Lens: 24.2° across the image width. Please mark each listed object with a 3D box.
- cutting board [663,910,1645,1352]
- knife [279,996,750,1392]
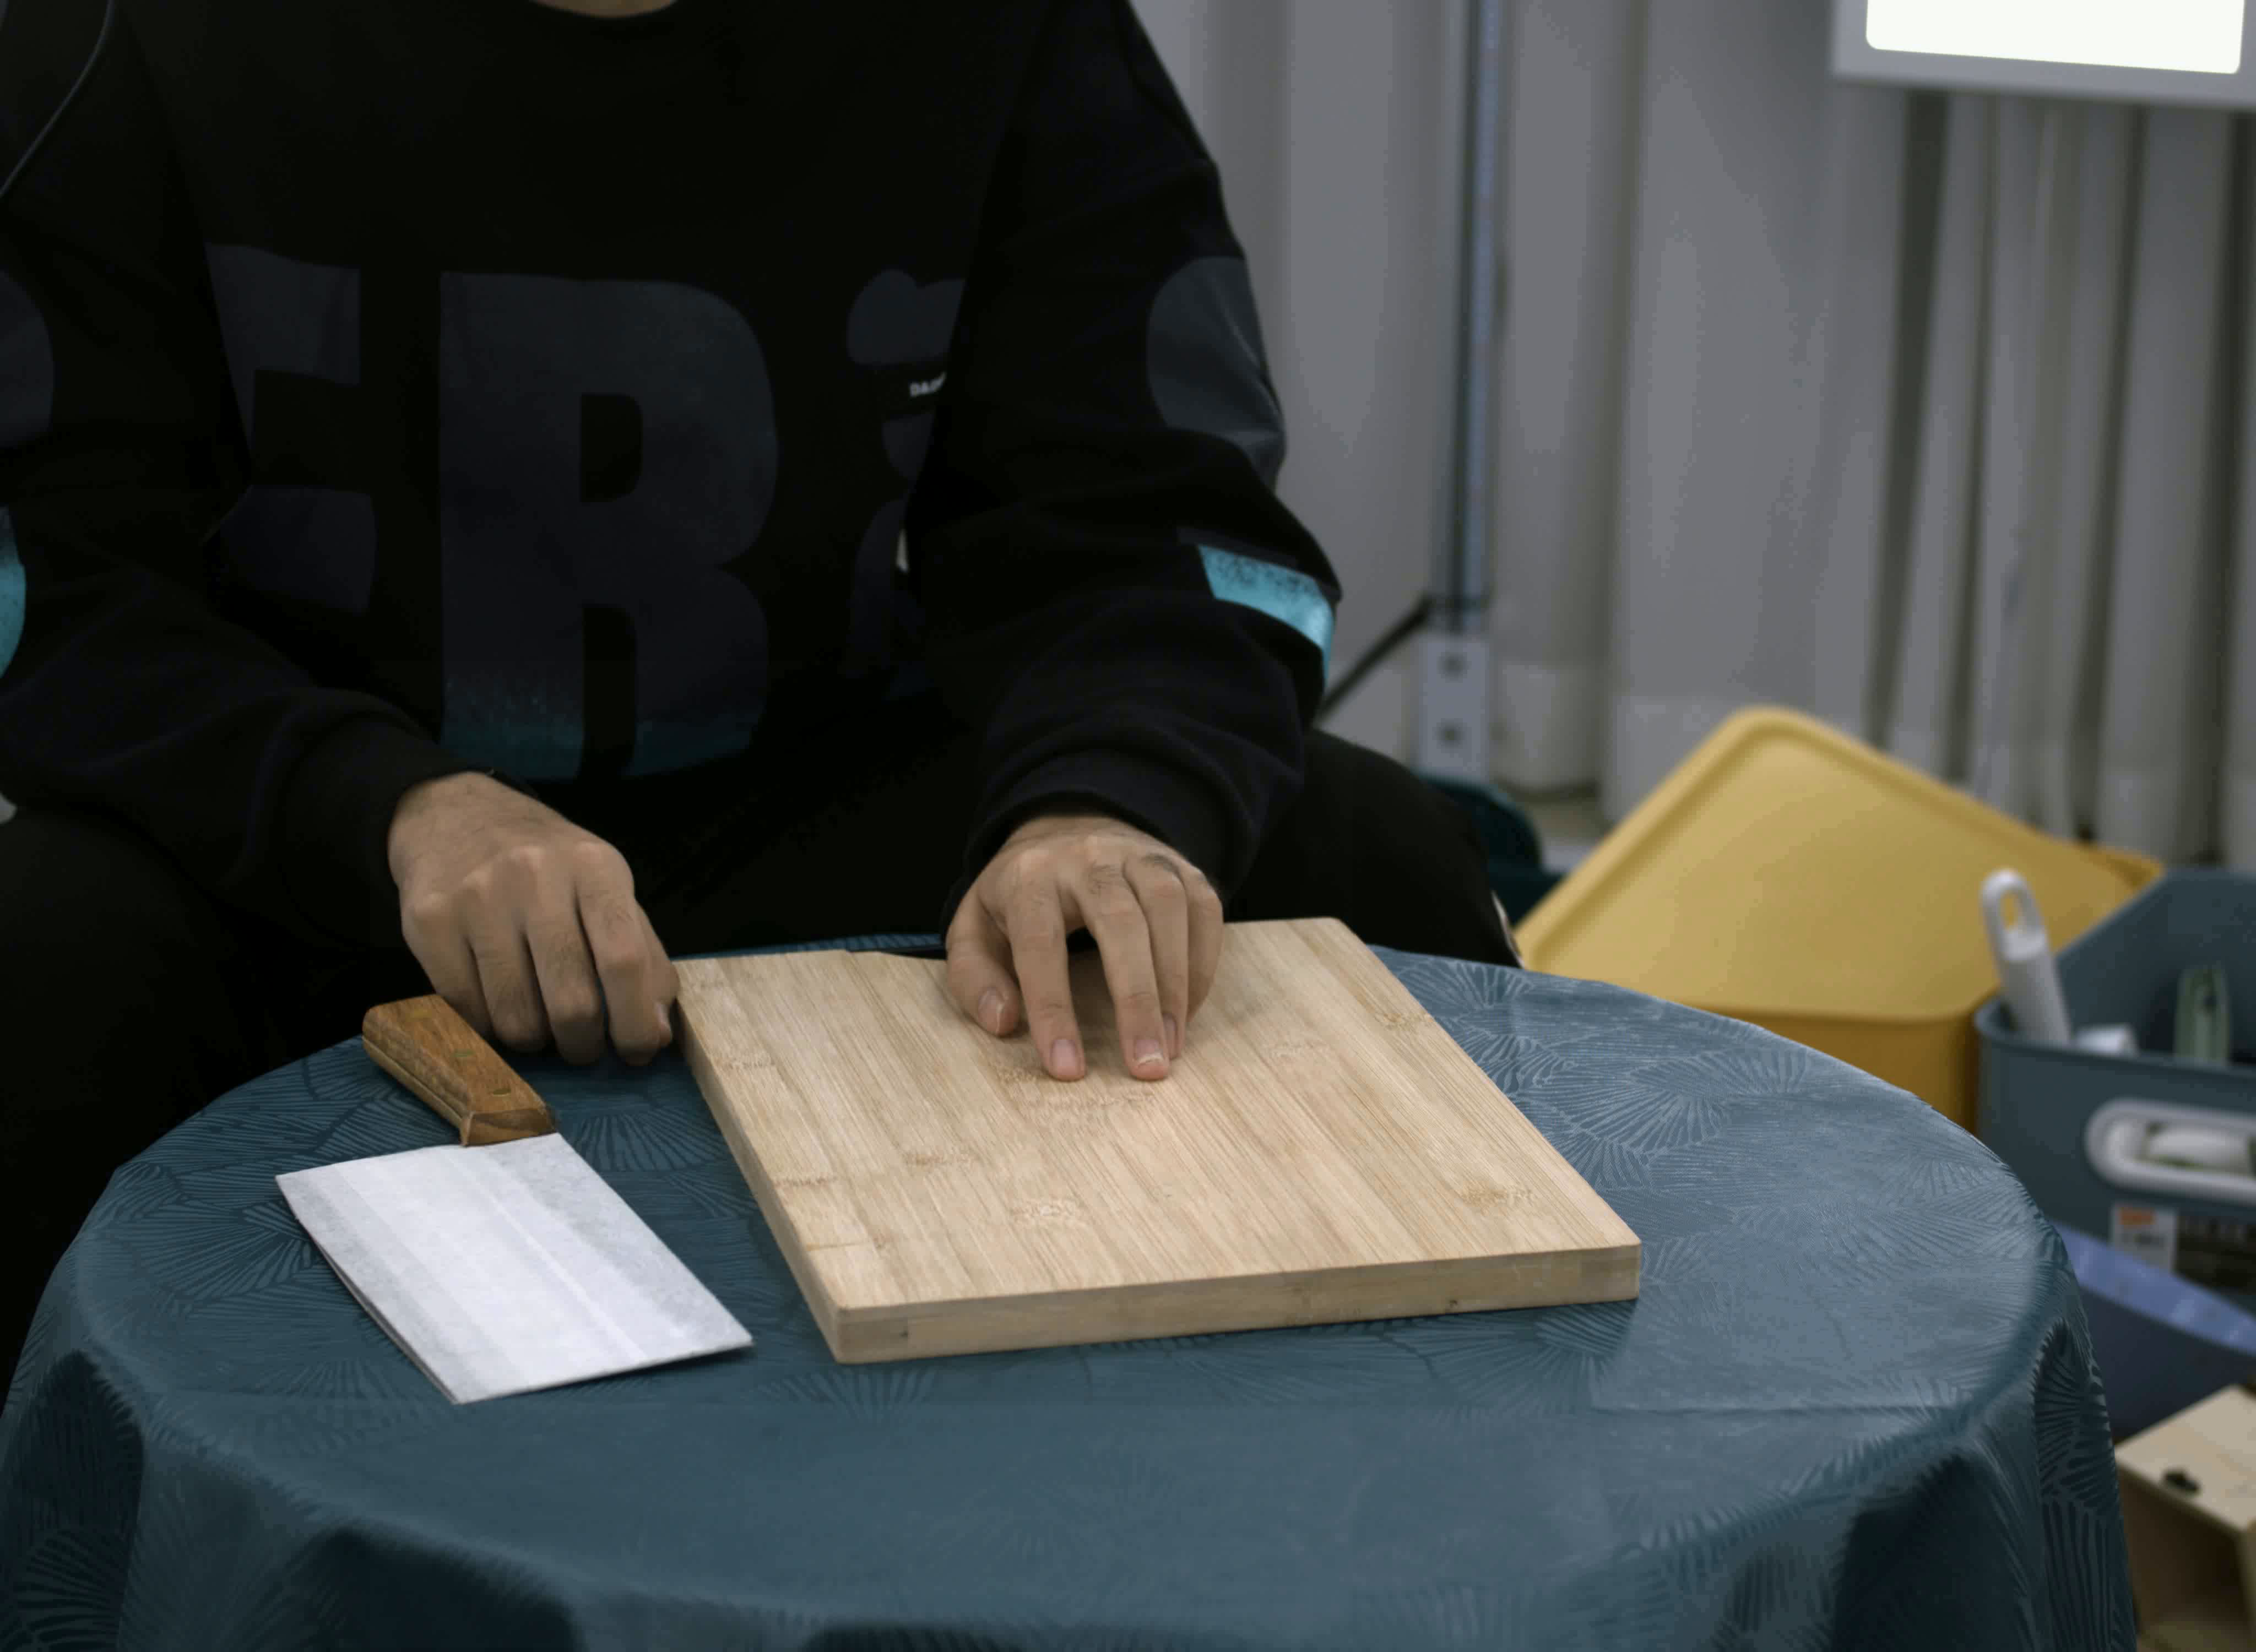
[{"bbox_3d":[-0.004,0.091,1.667,0.251,0.024,0.345,-4,16,-14],"label":"cutting board"},{"bbox_3d":[-0.205,0.111,1.597,0.093,0.021,0.302,-10,20,-22],"label":"knife"}]
